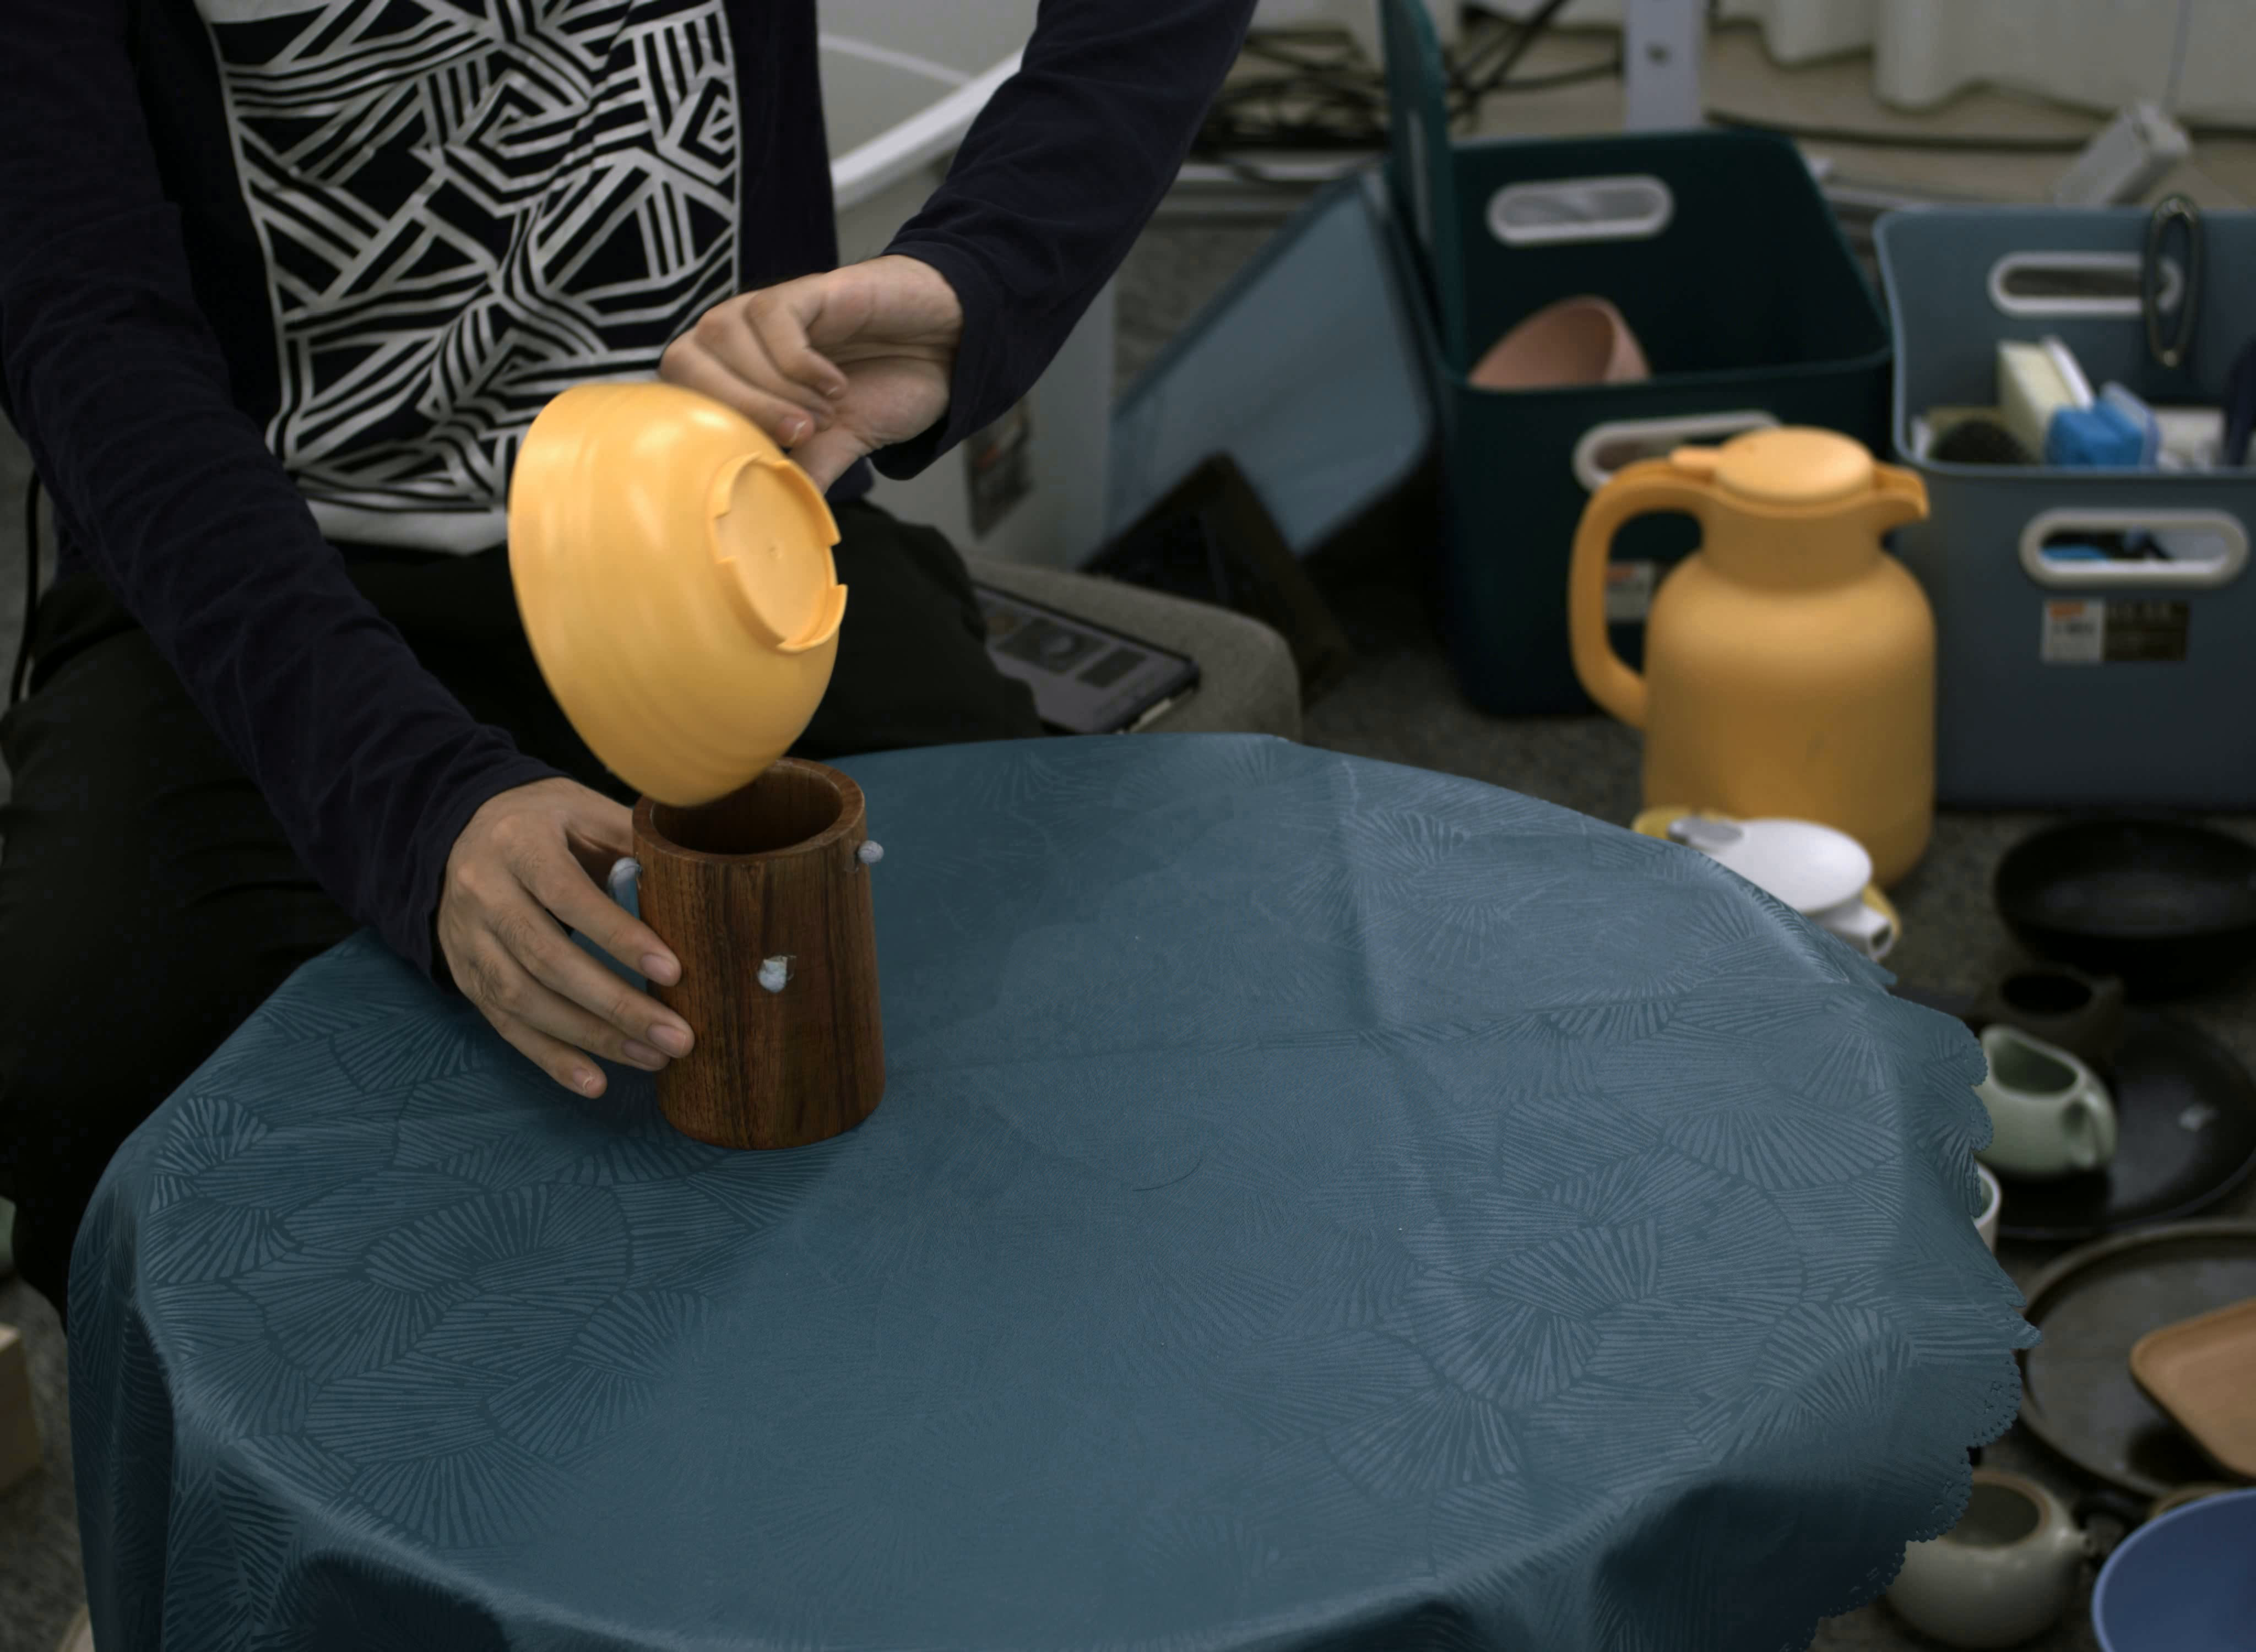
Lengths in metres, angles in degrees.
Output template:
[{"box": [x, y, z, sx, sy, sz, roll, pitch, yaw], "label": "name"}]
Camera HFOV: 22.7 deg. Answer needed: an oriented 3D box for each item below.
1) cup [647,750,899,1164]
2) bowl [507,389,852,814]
[{"box": [-0.119, 0.044, 1.896, 0.087, 0.117, 0.089, 1, 25, 0], "label": "cup"}, {"box": [-0.133, -0.081, 1.840, 0.059, 0.145, 0.148, -20, 15, 33], "label": "bowl"}]
